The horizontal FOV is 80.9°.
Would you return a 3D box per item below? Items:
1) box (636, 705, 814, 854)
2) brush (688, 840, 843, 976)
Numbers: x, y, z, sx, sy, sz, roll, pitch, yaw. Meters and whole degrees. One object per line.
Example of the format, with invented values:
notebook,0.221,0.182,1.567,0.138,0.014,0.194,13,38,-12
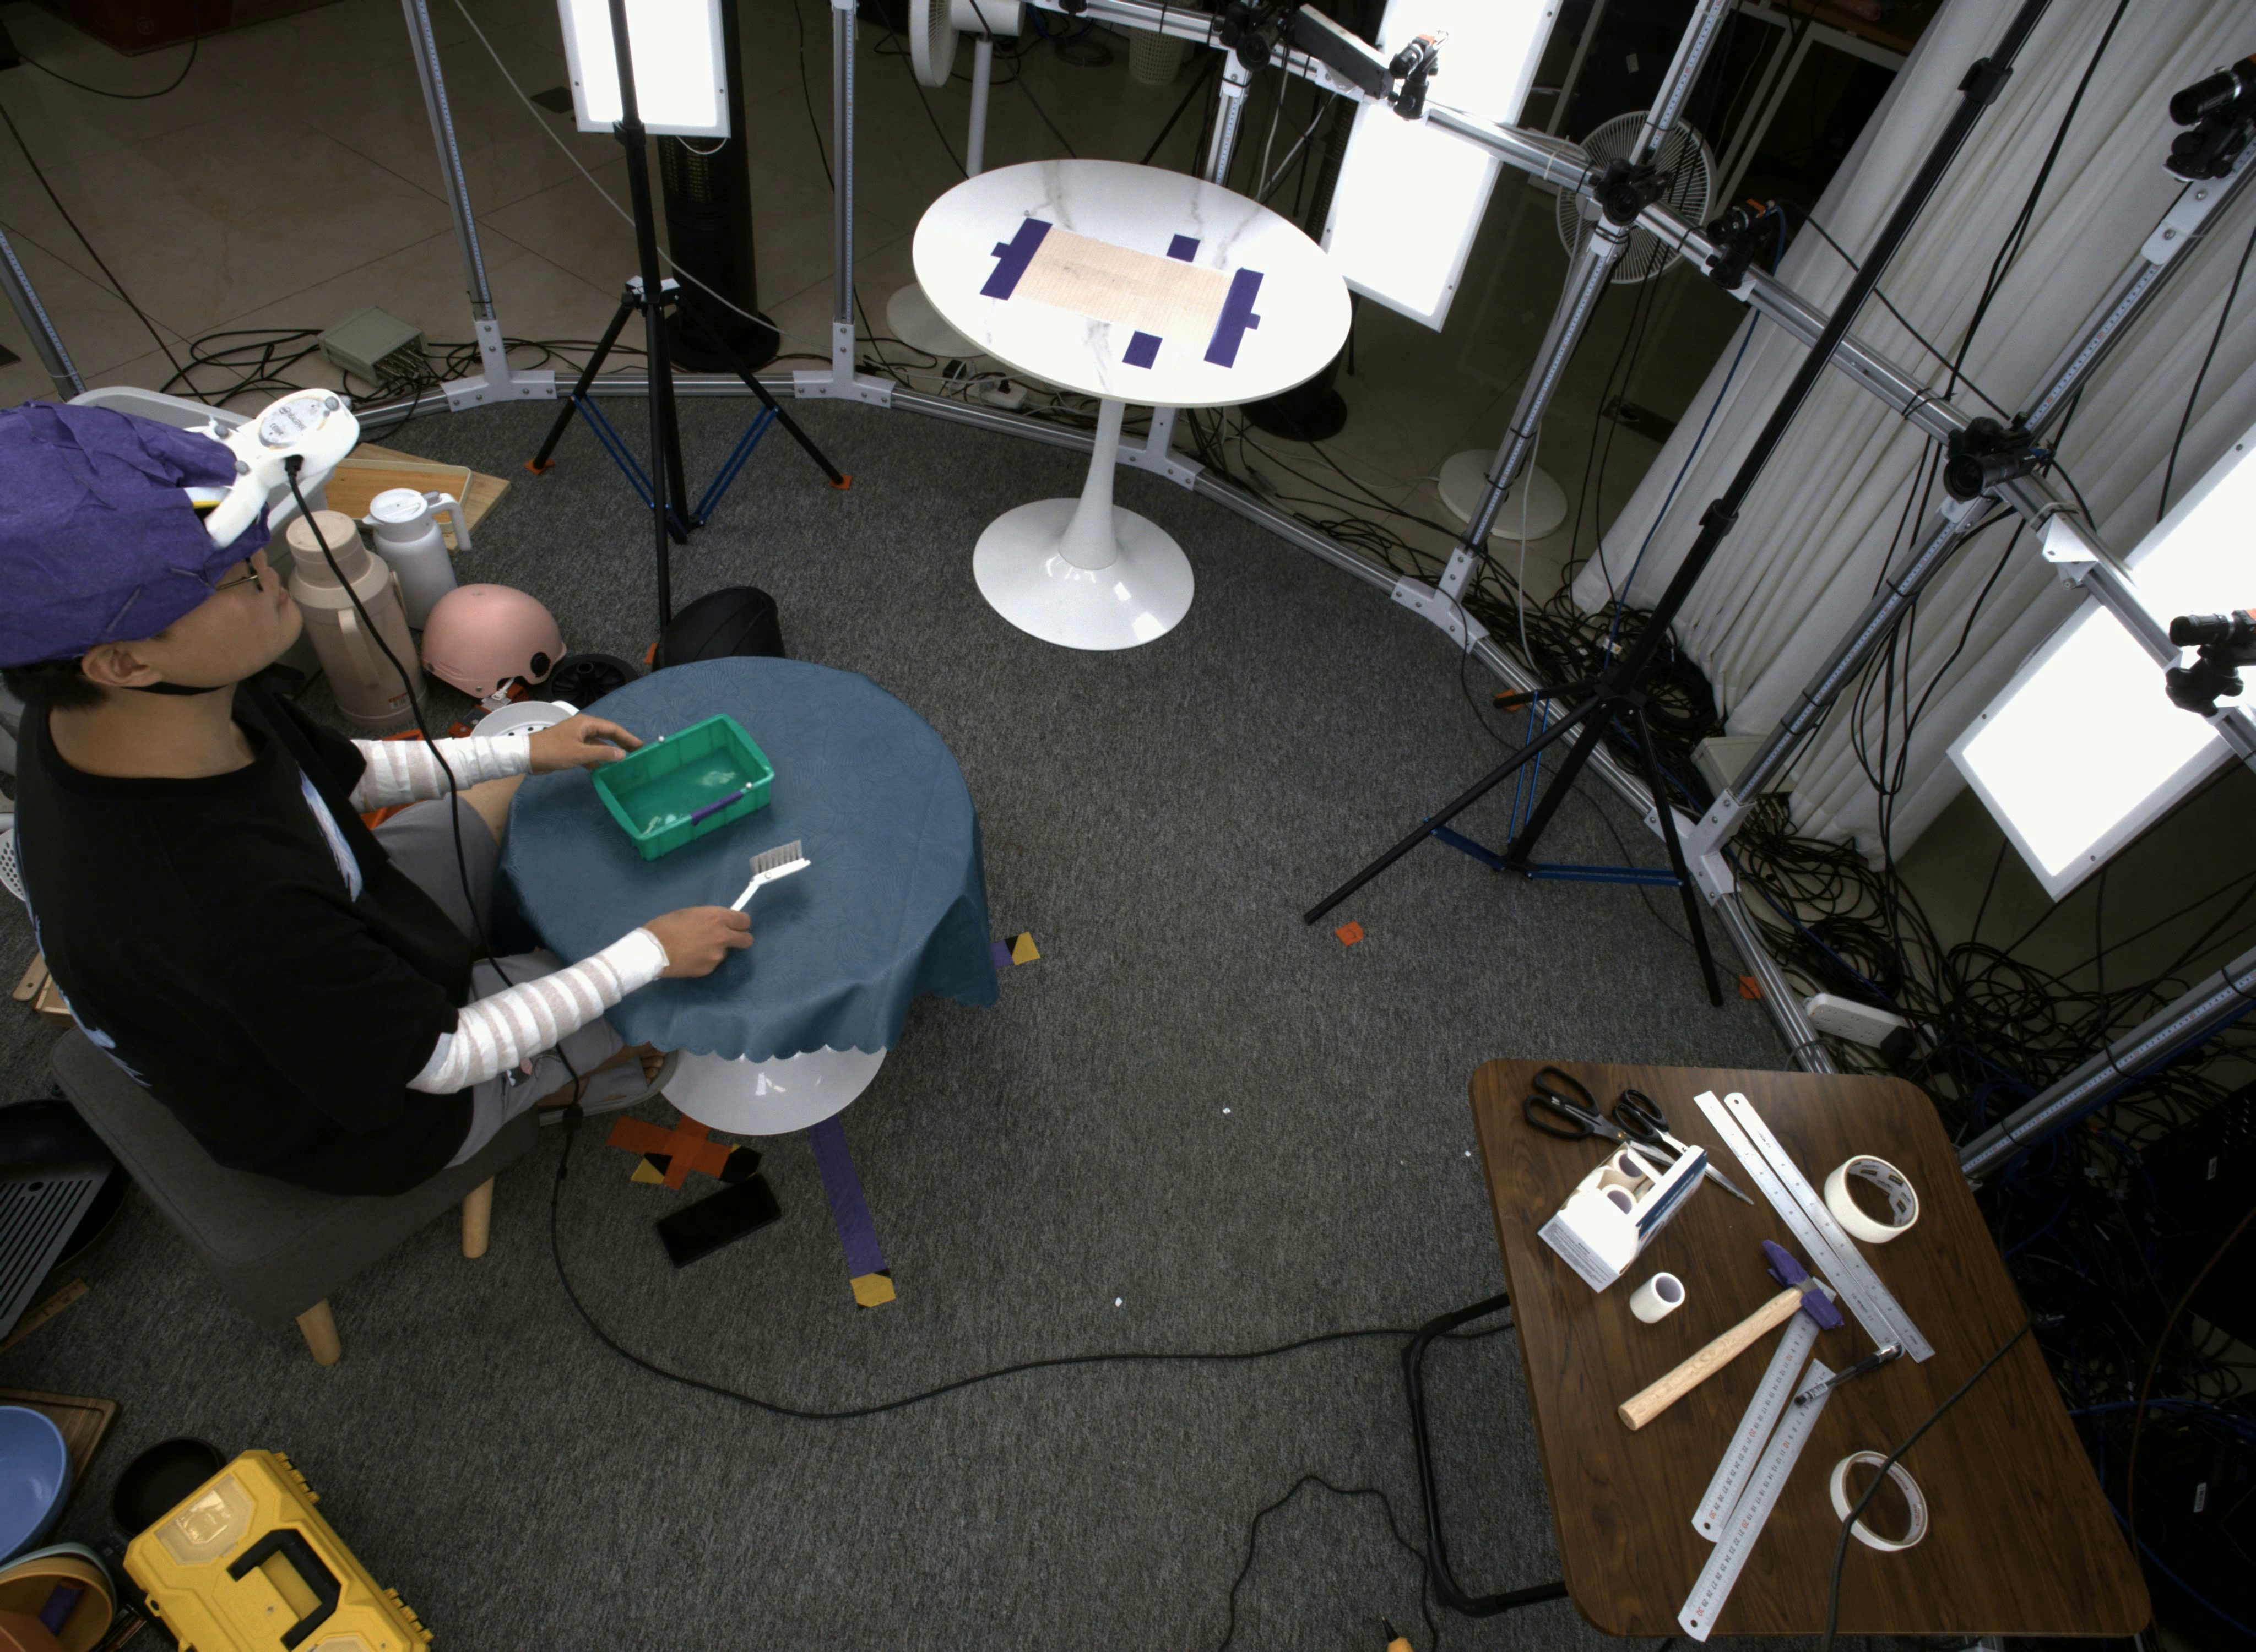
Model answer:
box,-0.533,-0.061,1.713,0.211,0.066,0.135,-30,67,-29
brush,-0.456,0.093,1.605,0.244,0.034,0.051,-39,97,-27
